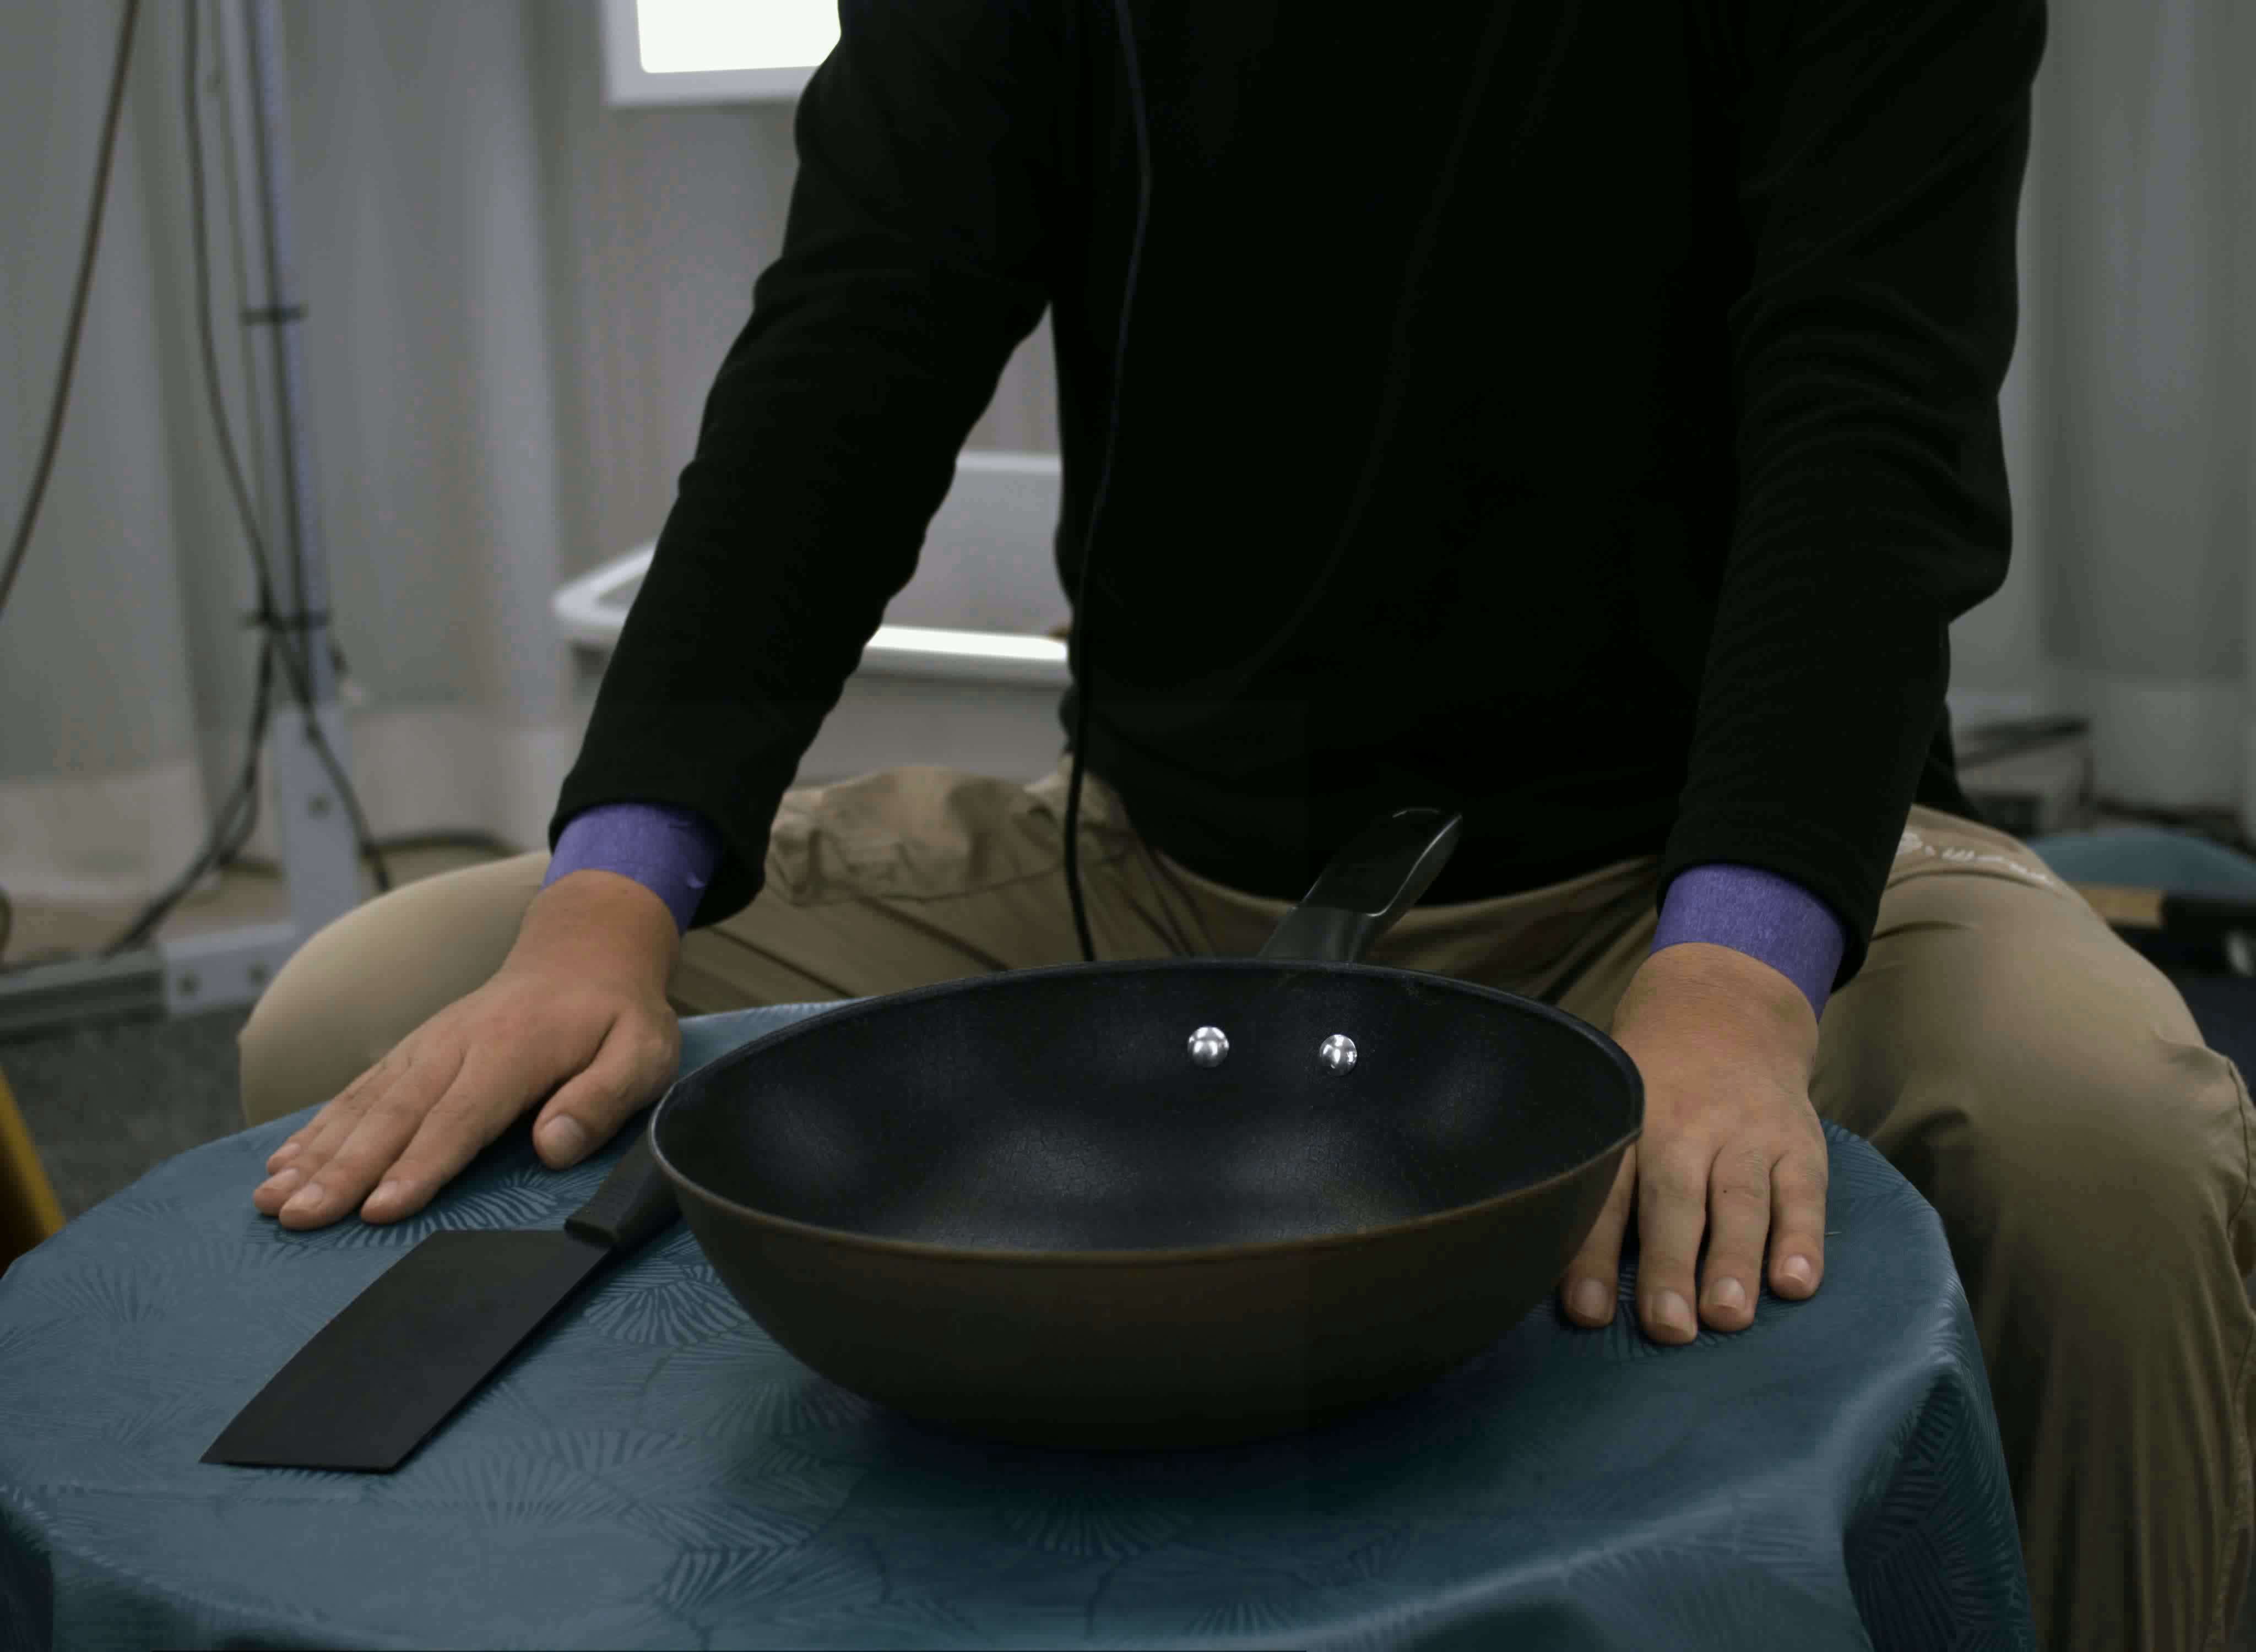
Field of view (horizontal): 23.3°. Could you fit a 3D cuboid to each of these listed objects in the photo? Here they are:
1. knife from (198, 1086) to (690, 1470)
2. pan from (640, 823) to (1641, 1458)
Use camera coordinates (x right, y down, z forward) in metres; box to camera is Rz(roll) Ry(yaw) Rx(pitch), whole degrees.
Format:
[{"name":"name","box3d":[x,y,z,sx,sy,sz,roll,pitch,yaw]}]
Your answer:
[{"name":"knife","box3d":[-0.187,0.134,1.651,0.081,0.021,0.303,2,17,21]},{"name":"pan","box3d":[0.033,0.091,1.637,0.288,0.086,0.465,2,15,18]}]
